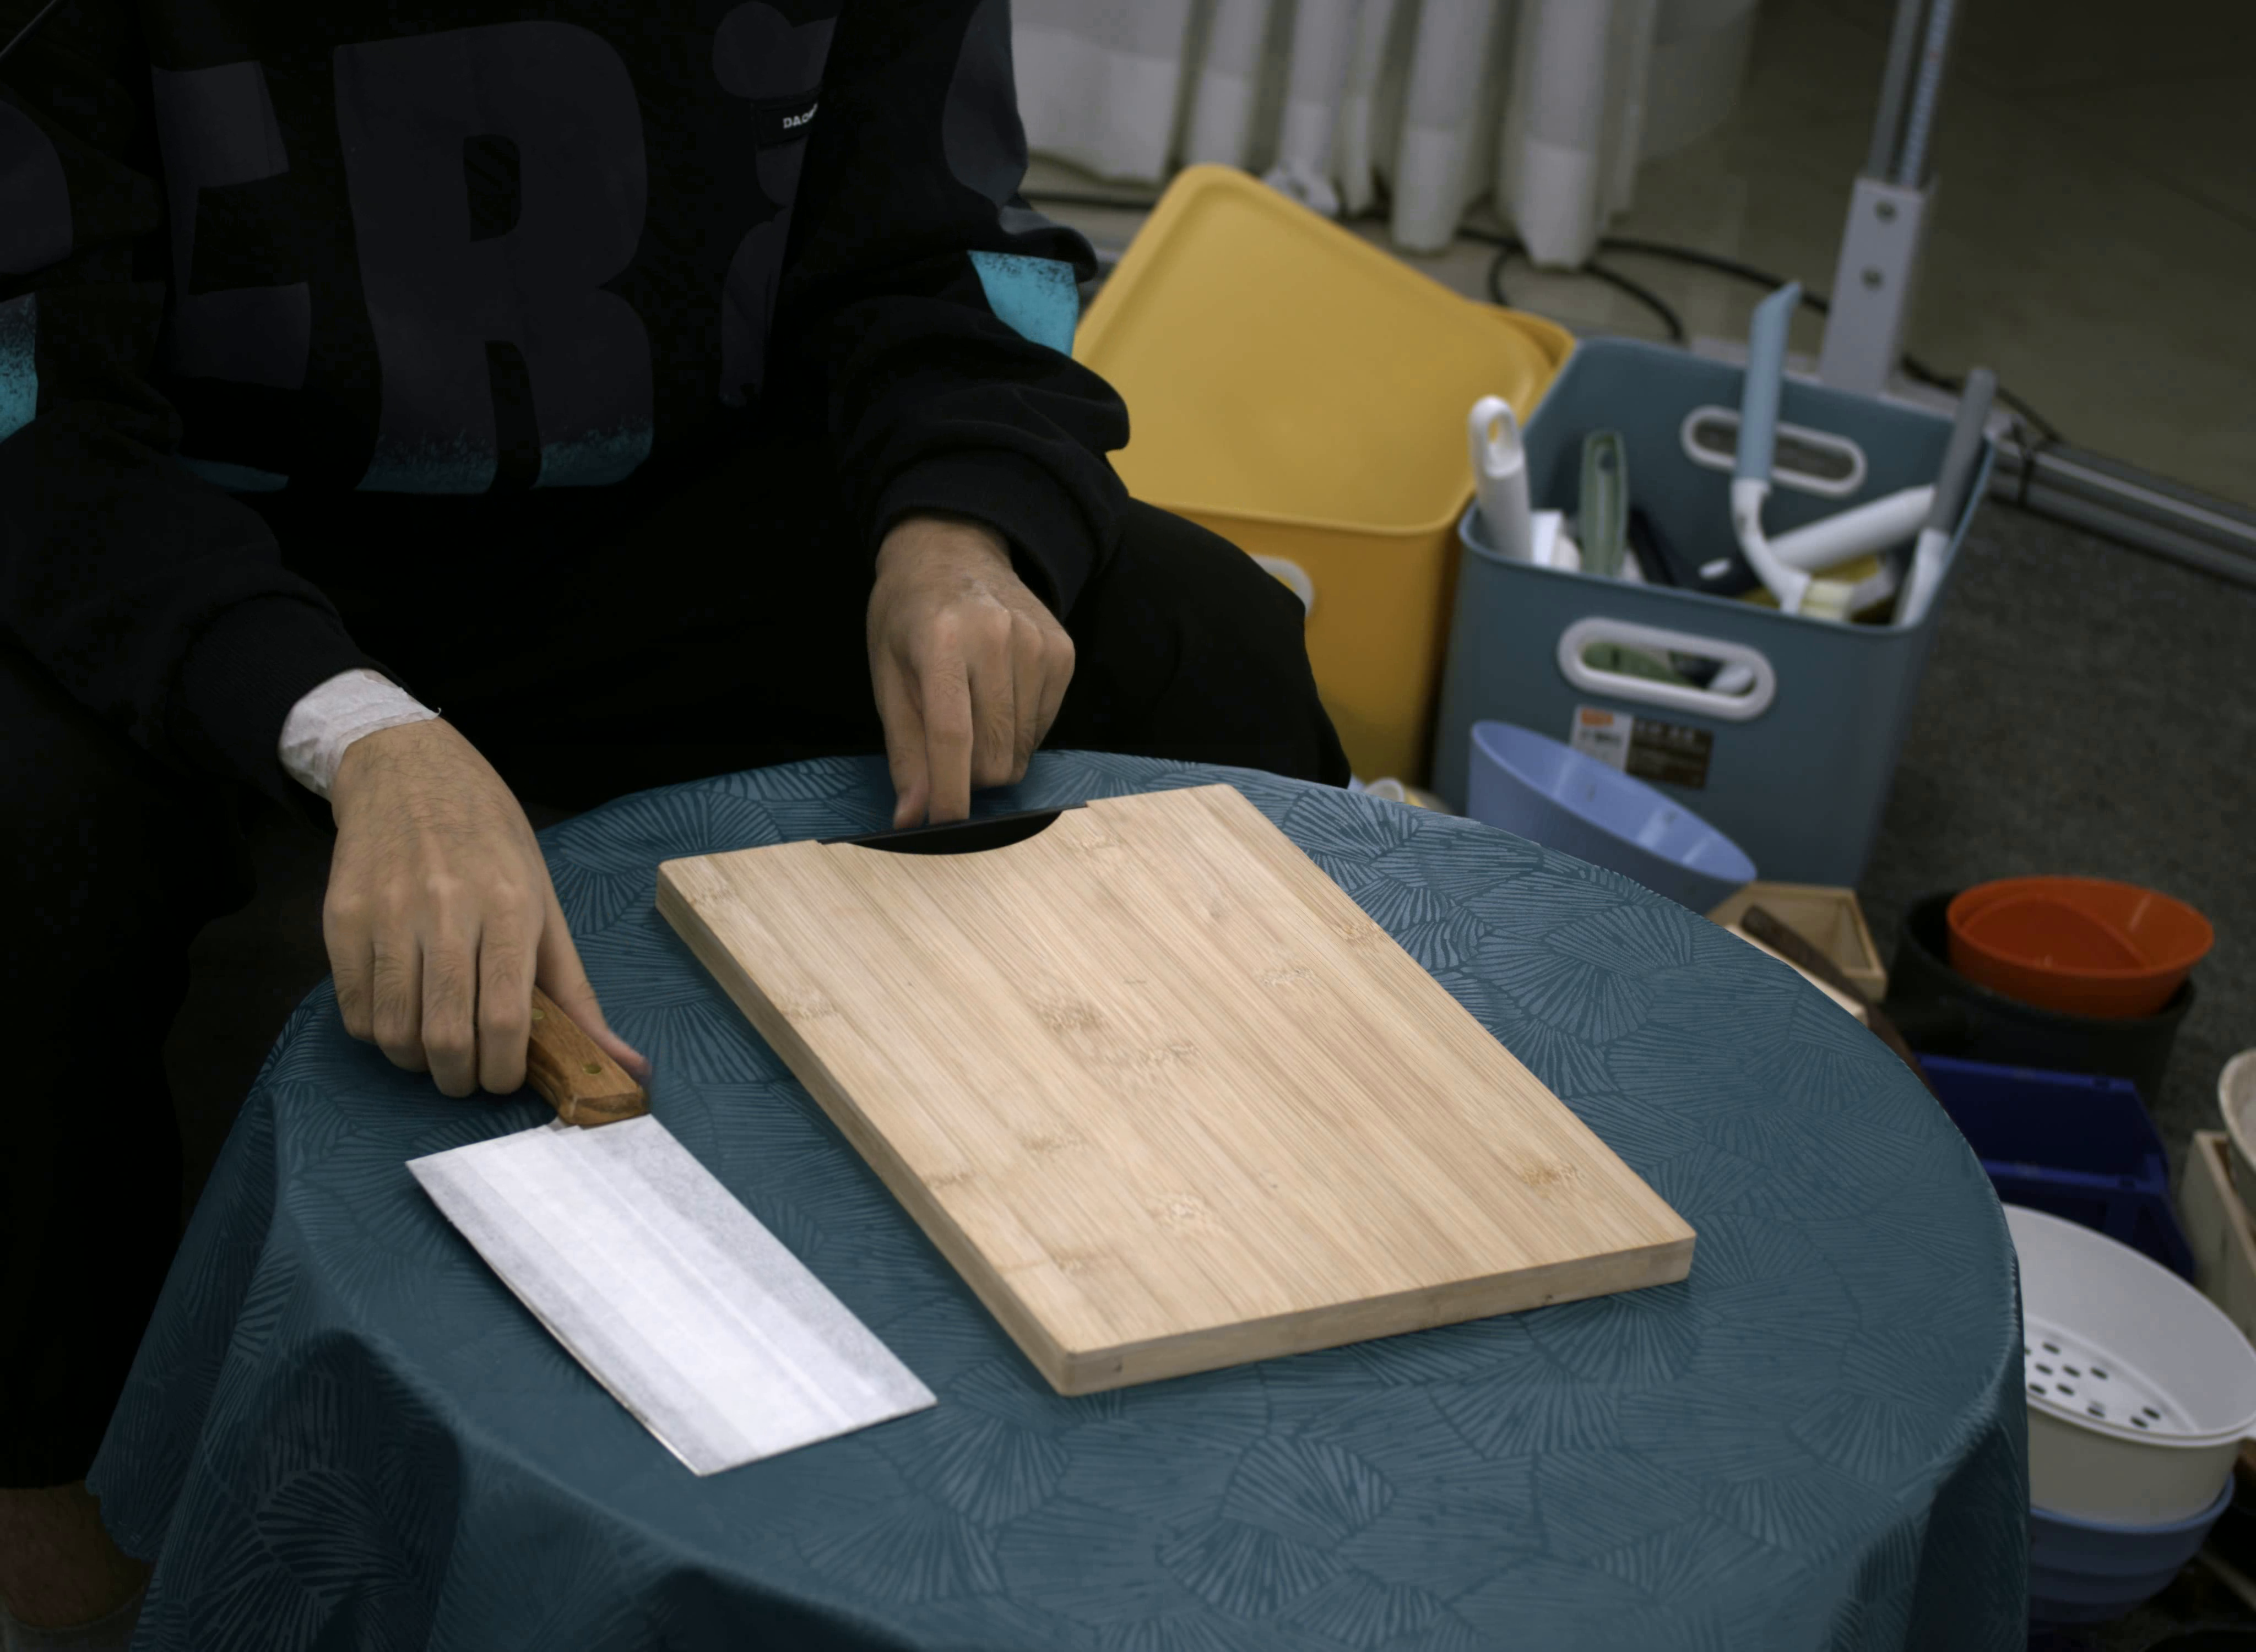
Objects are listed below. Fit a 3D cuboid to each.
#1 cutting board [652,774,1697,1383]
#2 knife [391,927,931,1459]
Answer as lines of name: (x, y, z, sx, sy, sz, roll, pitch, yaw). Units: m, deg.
cutting board: (0.008, 0.081, 1.870, 0.249, 0.023, 0.352, -8, 31, -27)
knife: (-0.180, 0.120, 1.754, 0.092, 0.021, 0.308, -14, 36, -32)
